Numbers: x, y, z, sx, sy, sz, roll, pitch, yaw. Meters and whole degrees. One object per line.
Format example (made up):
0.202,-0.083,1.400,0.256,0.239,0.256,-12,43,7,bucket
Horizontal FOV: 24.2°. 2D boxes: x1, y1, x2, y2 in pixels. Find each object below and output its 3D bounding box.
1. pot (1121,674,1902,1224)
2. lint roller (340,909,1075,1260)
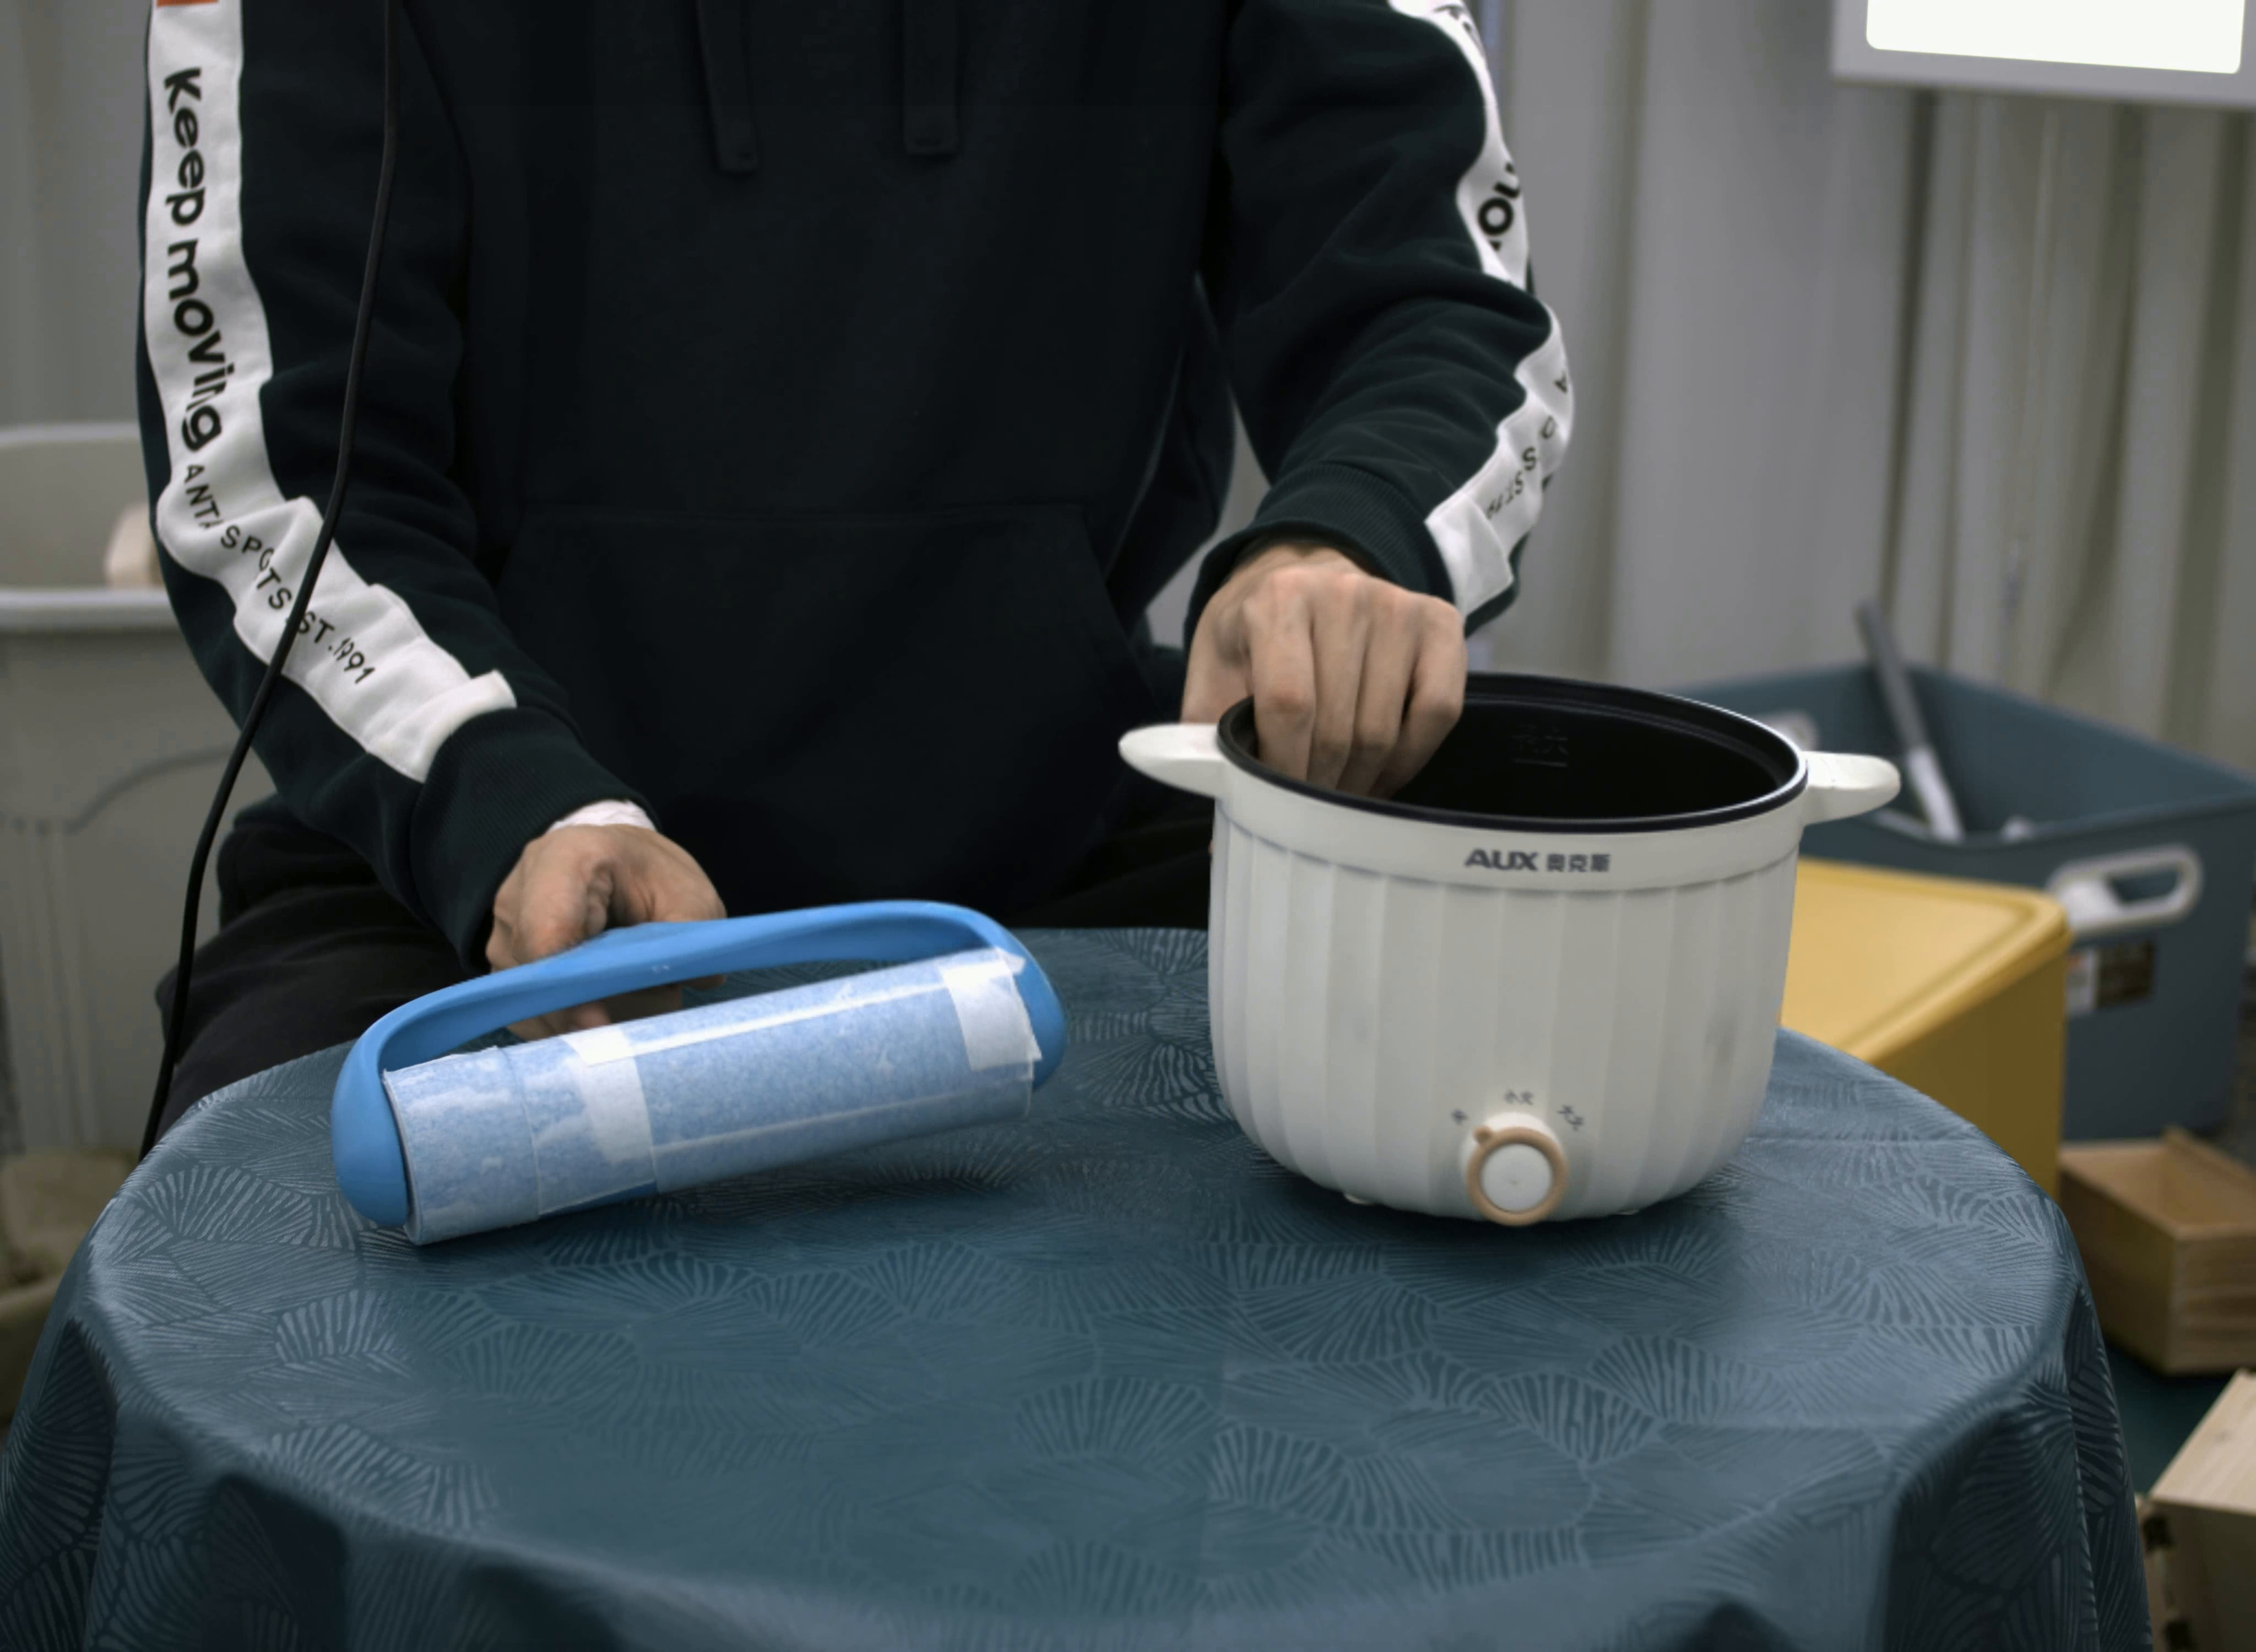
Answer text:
0.116,0.040,1.615,0.240,0.143,0.189,1,12,-4,pot
-0.147,0.066,1.640,0.229,0.068,0.178,-14,22,-20,lint roller
